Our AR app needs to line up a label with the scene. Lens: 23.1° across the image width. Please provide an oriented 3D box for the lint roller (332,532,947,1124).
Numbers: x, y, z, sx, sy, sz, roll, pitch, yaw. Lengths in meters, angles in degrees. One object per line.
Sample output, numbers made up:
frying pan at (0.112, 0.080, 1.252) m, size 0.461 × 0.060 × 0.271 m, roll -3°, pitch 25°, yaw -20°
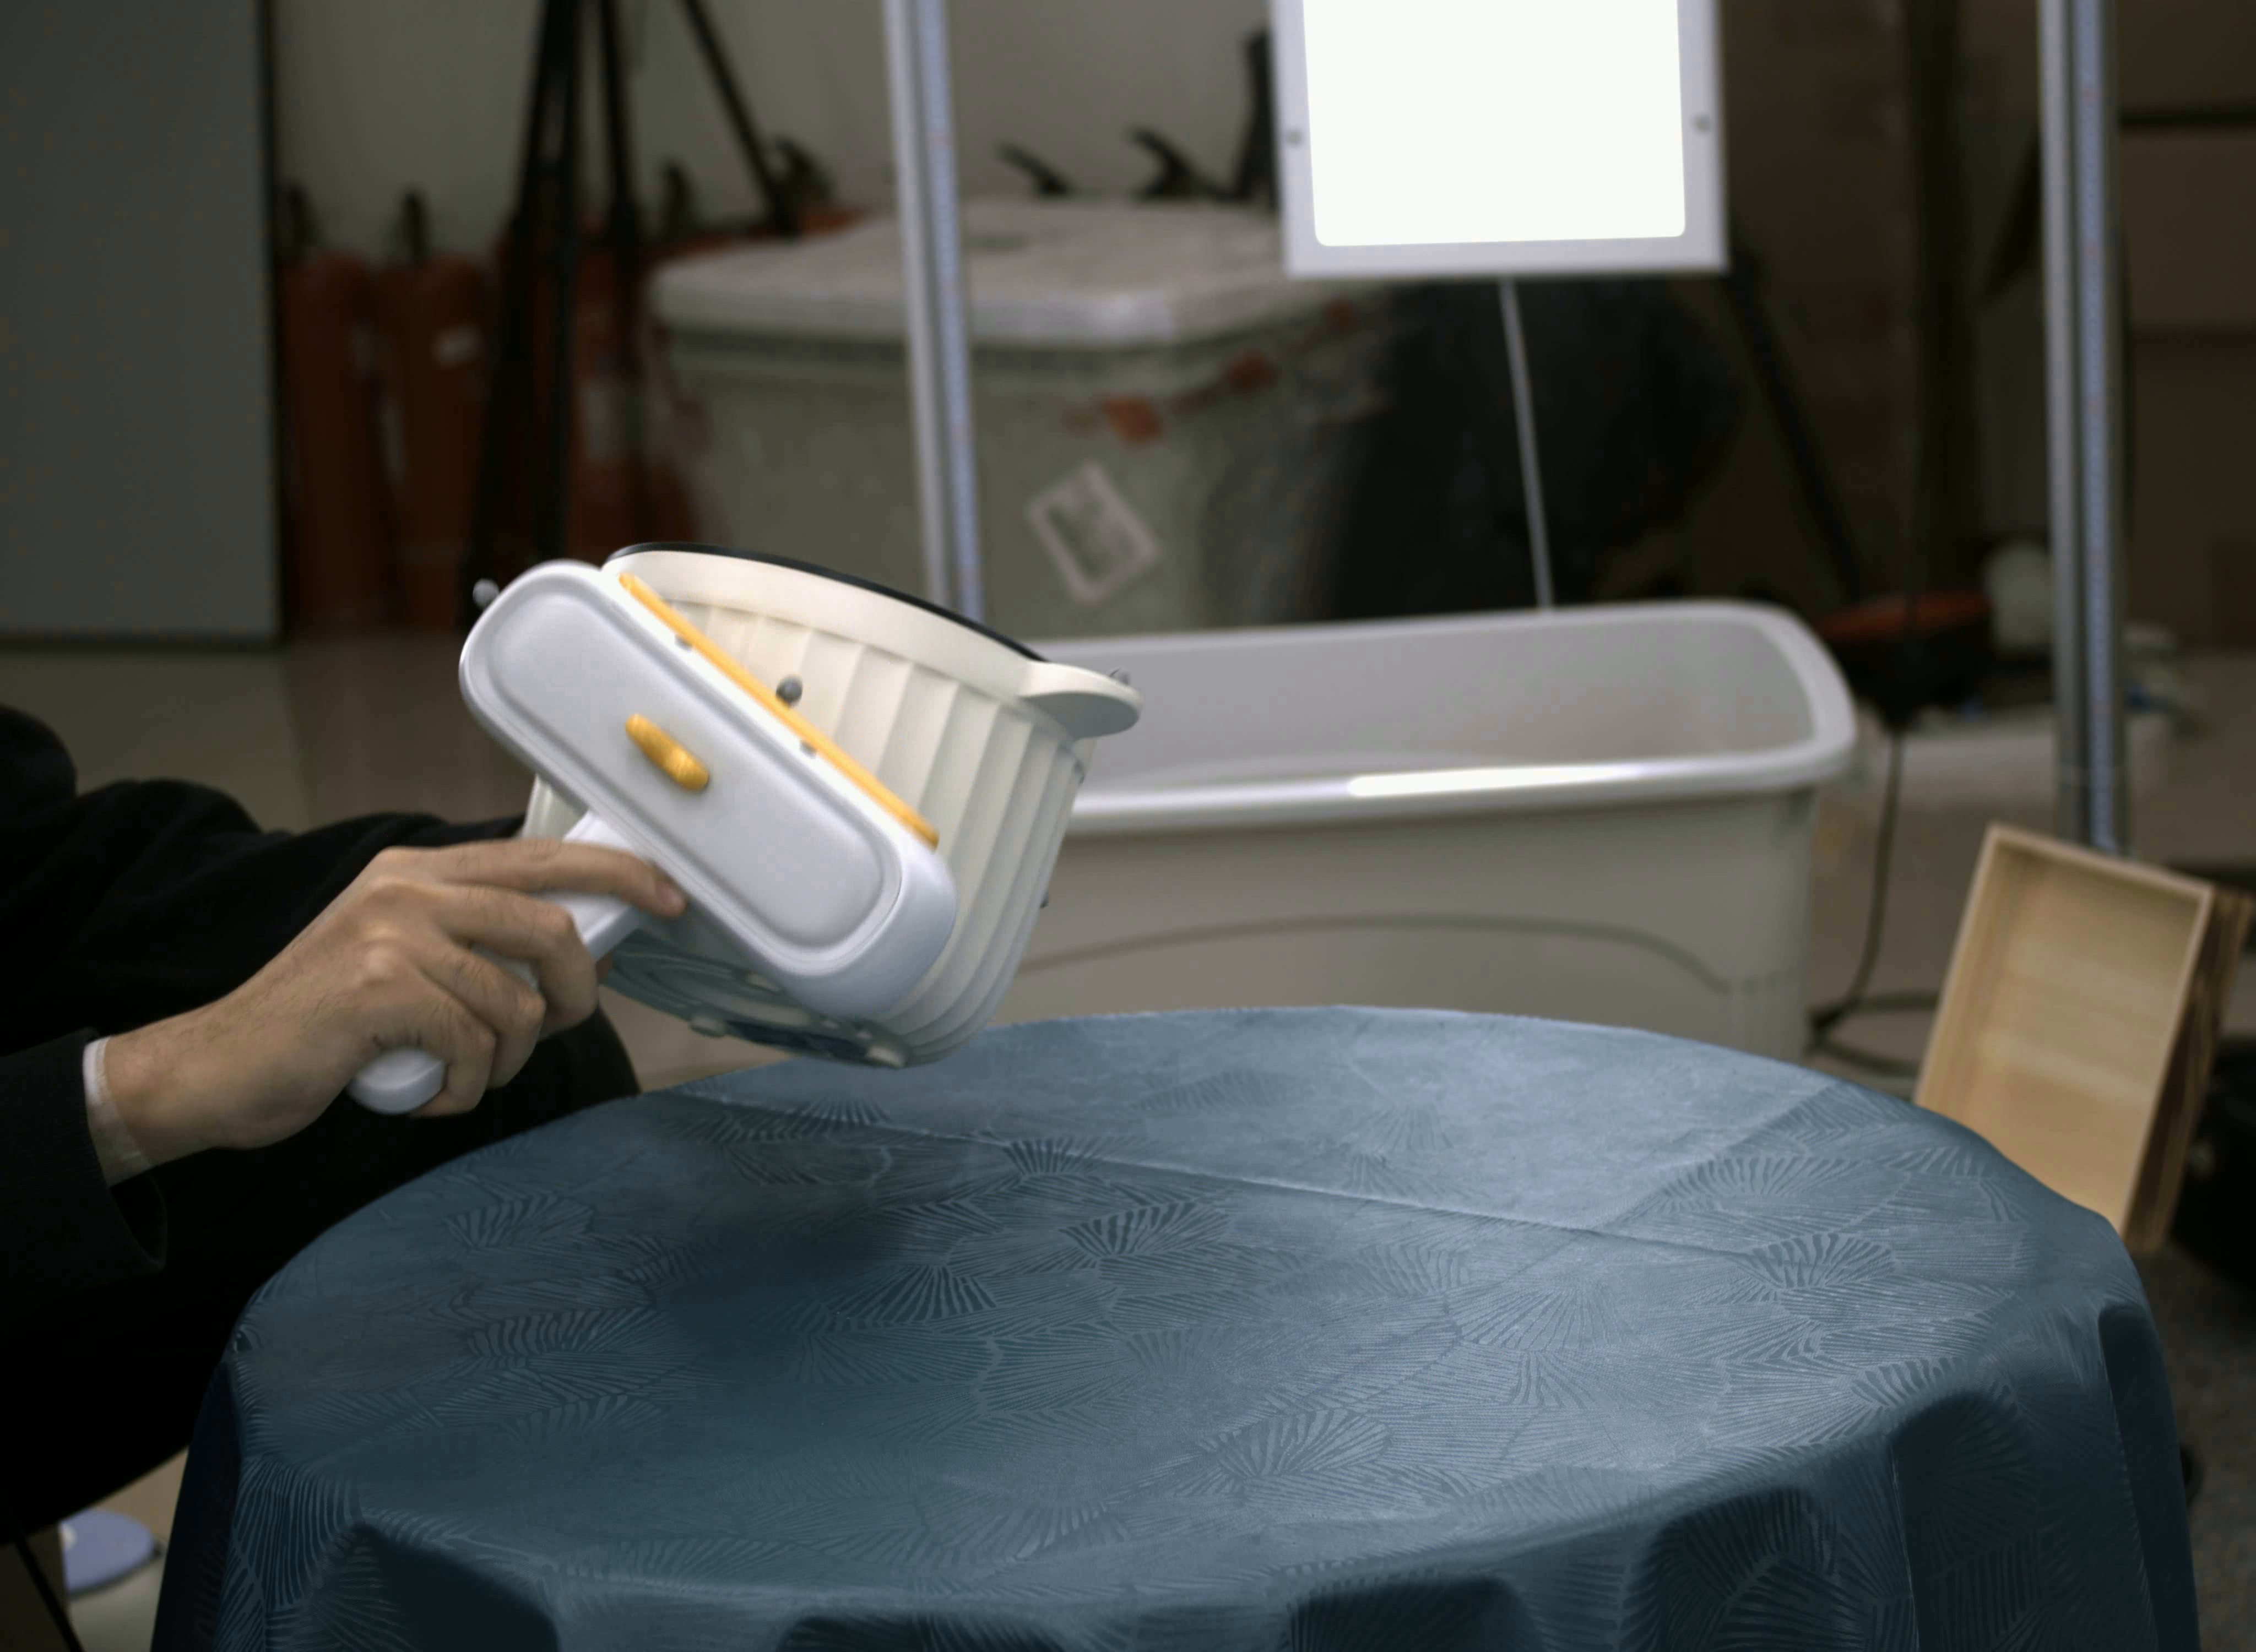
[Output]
lint roller at (-0.179, 0.019, 1.763) m, size 0.194 × 0.191 × 0.074 m, roll 37°, pitch -11°, yaw 16°

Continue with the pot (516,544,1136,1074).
pot at (-0.115, 0.002, 1.894) m, size 0.245 × 0.142 × 0.187 m, roll 10°, pitch -12°, yaw 35°
